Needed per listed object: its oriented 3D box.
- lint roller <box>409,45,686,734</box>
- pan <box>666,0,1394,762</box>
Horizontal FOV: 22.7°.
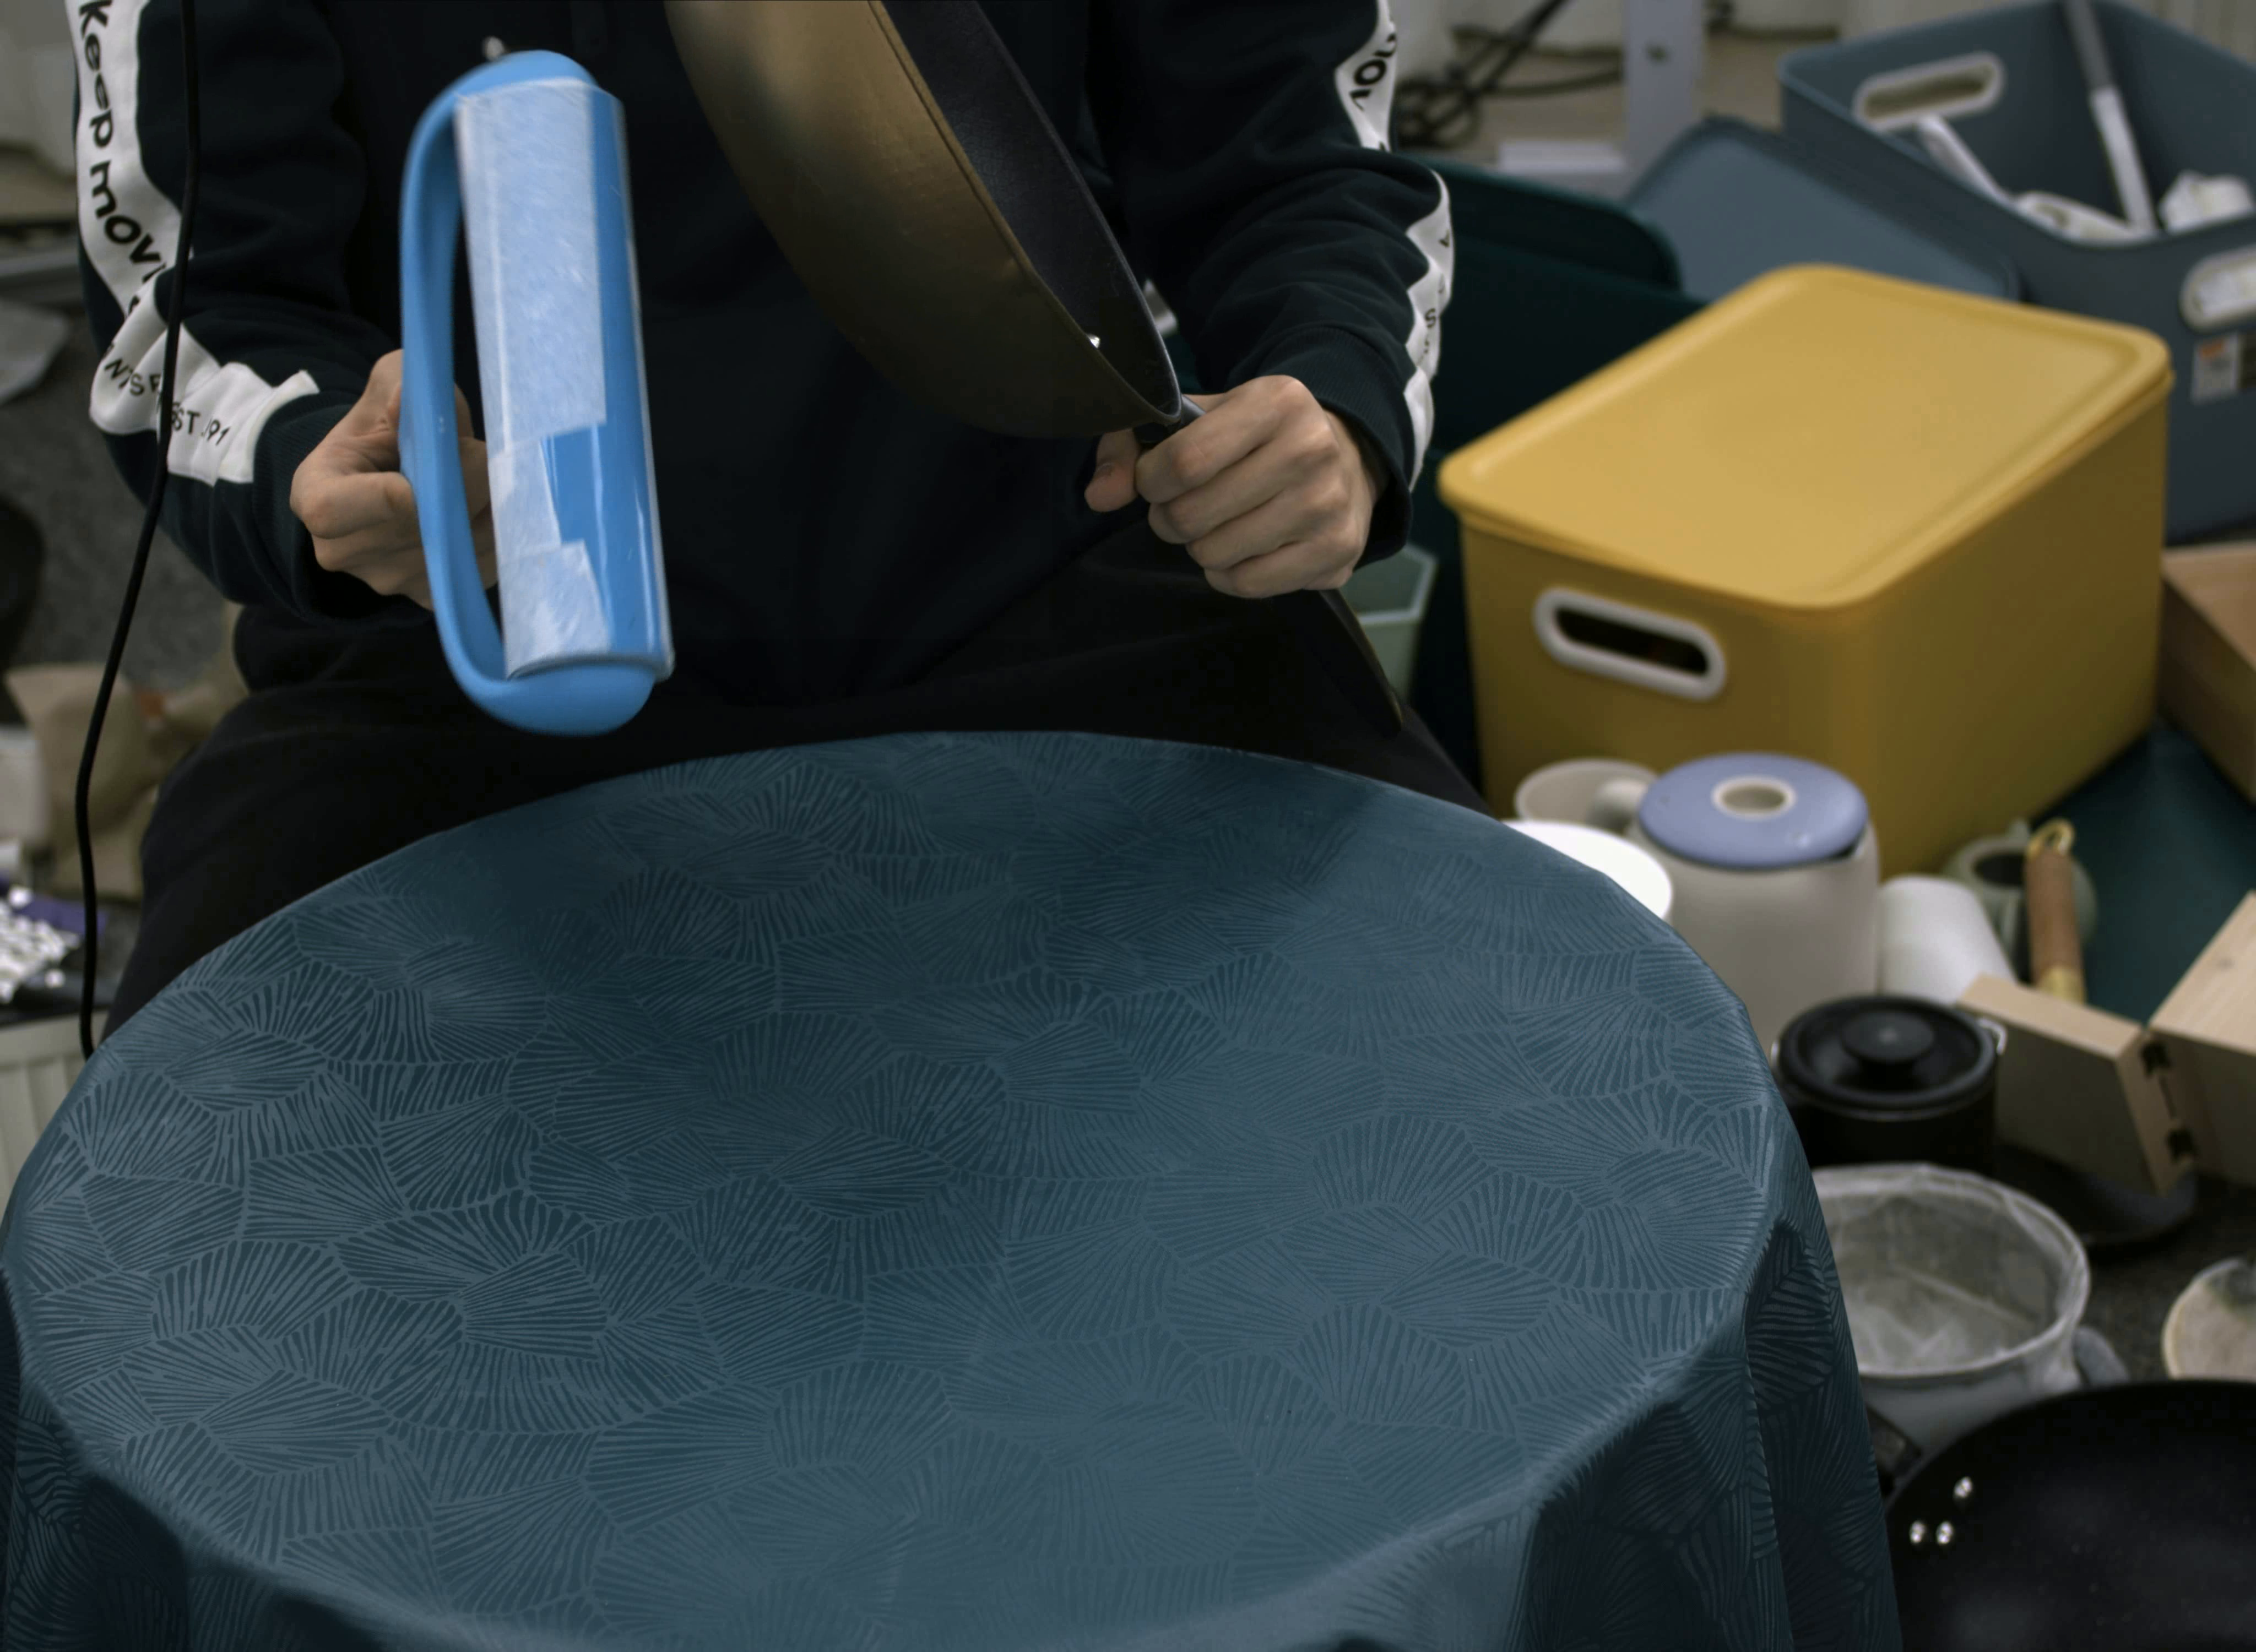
[{"bbox_3d":[-0.208,-0.127,1.875,0.068,0.232,0.177,1,-16,-31],"label":"lint roller"},{"bbox_3d":[-0.043,-0.180,1.997,0.086,0.459,0.292,-29,32,8],"label":"pan"}]
